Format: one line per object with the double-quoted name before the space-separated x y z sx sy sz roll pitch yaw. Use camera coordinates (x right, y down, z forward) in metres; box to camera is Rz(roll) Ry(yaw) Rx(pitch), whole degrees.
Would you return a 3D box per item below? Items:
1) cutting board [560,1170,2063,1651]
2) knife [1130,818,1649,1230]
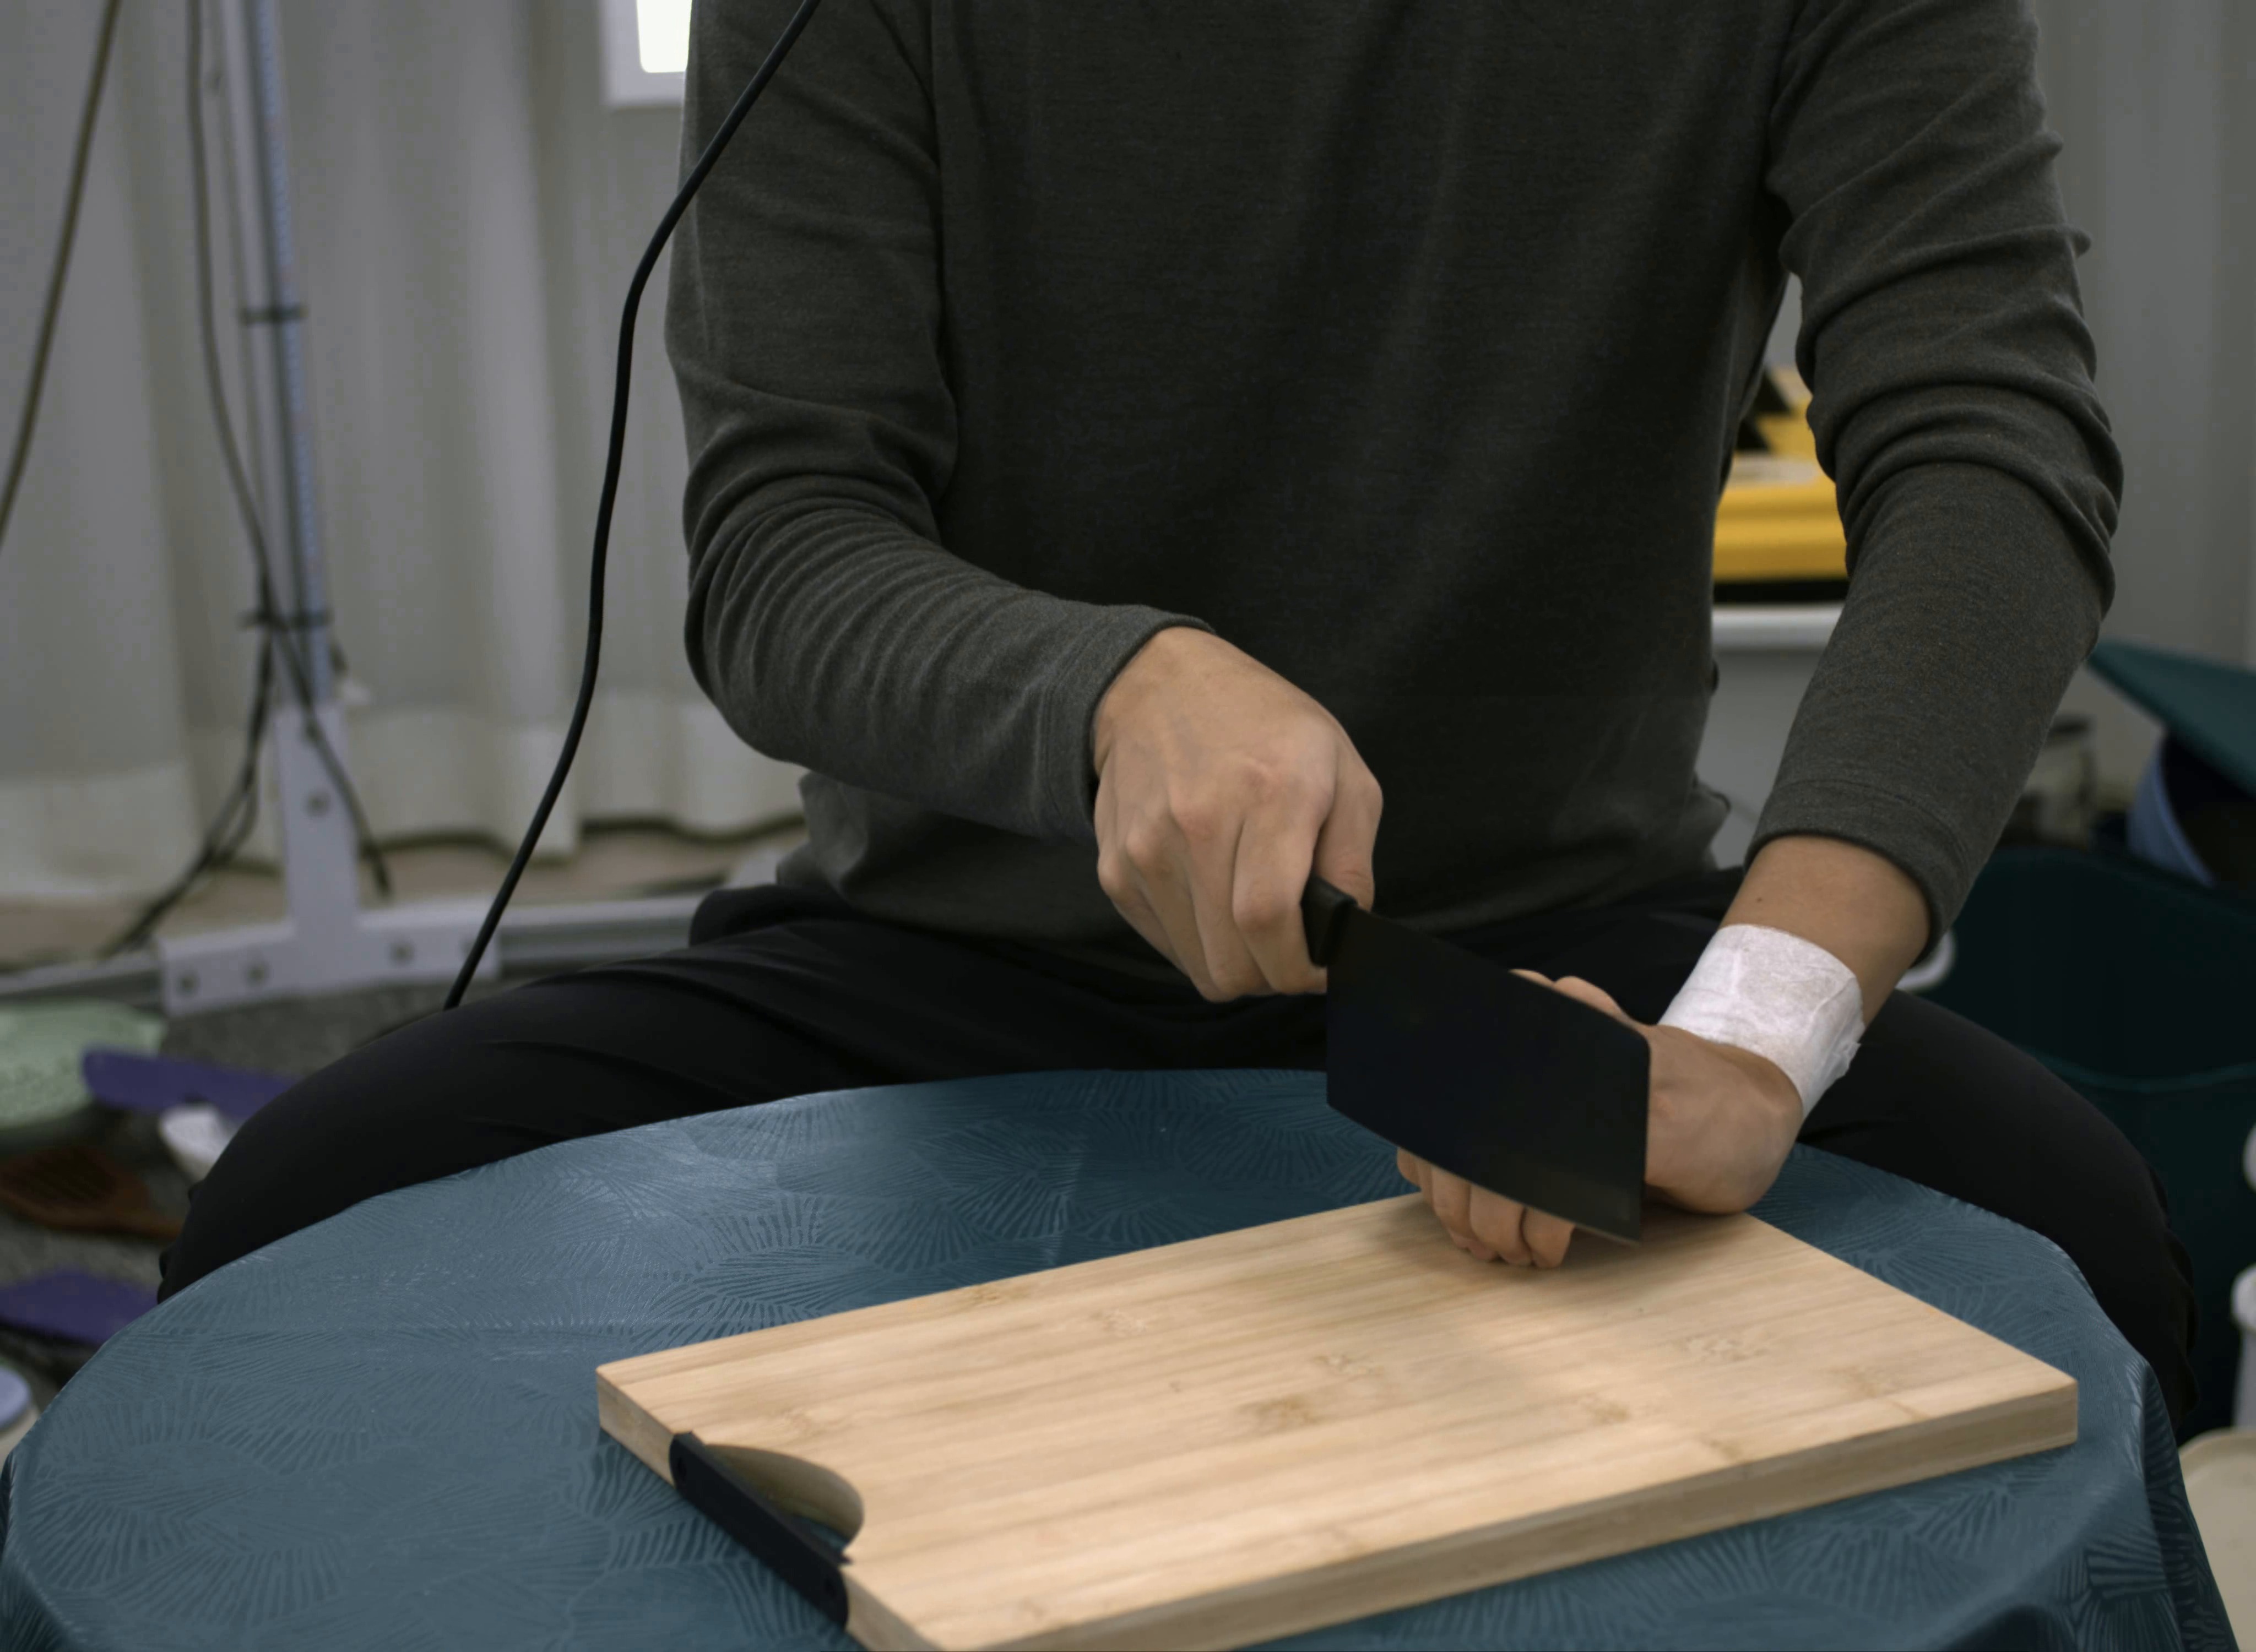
"cutting board" 0.049 0.161 1.504 0.347 0.023 0.252 -10 16 -26
"knife" 0.073 0.051 1.594 0.021 0.080 0.305 -3 16 -26
